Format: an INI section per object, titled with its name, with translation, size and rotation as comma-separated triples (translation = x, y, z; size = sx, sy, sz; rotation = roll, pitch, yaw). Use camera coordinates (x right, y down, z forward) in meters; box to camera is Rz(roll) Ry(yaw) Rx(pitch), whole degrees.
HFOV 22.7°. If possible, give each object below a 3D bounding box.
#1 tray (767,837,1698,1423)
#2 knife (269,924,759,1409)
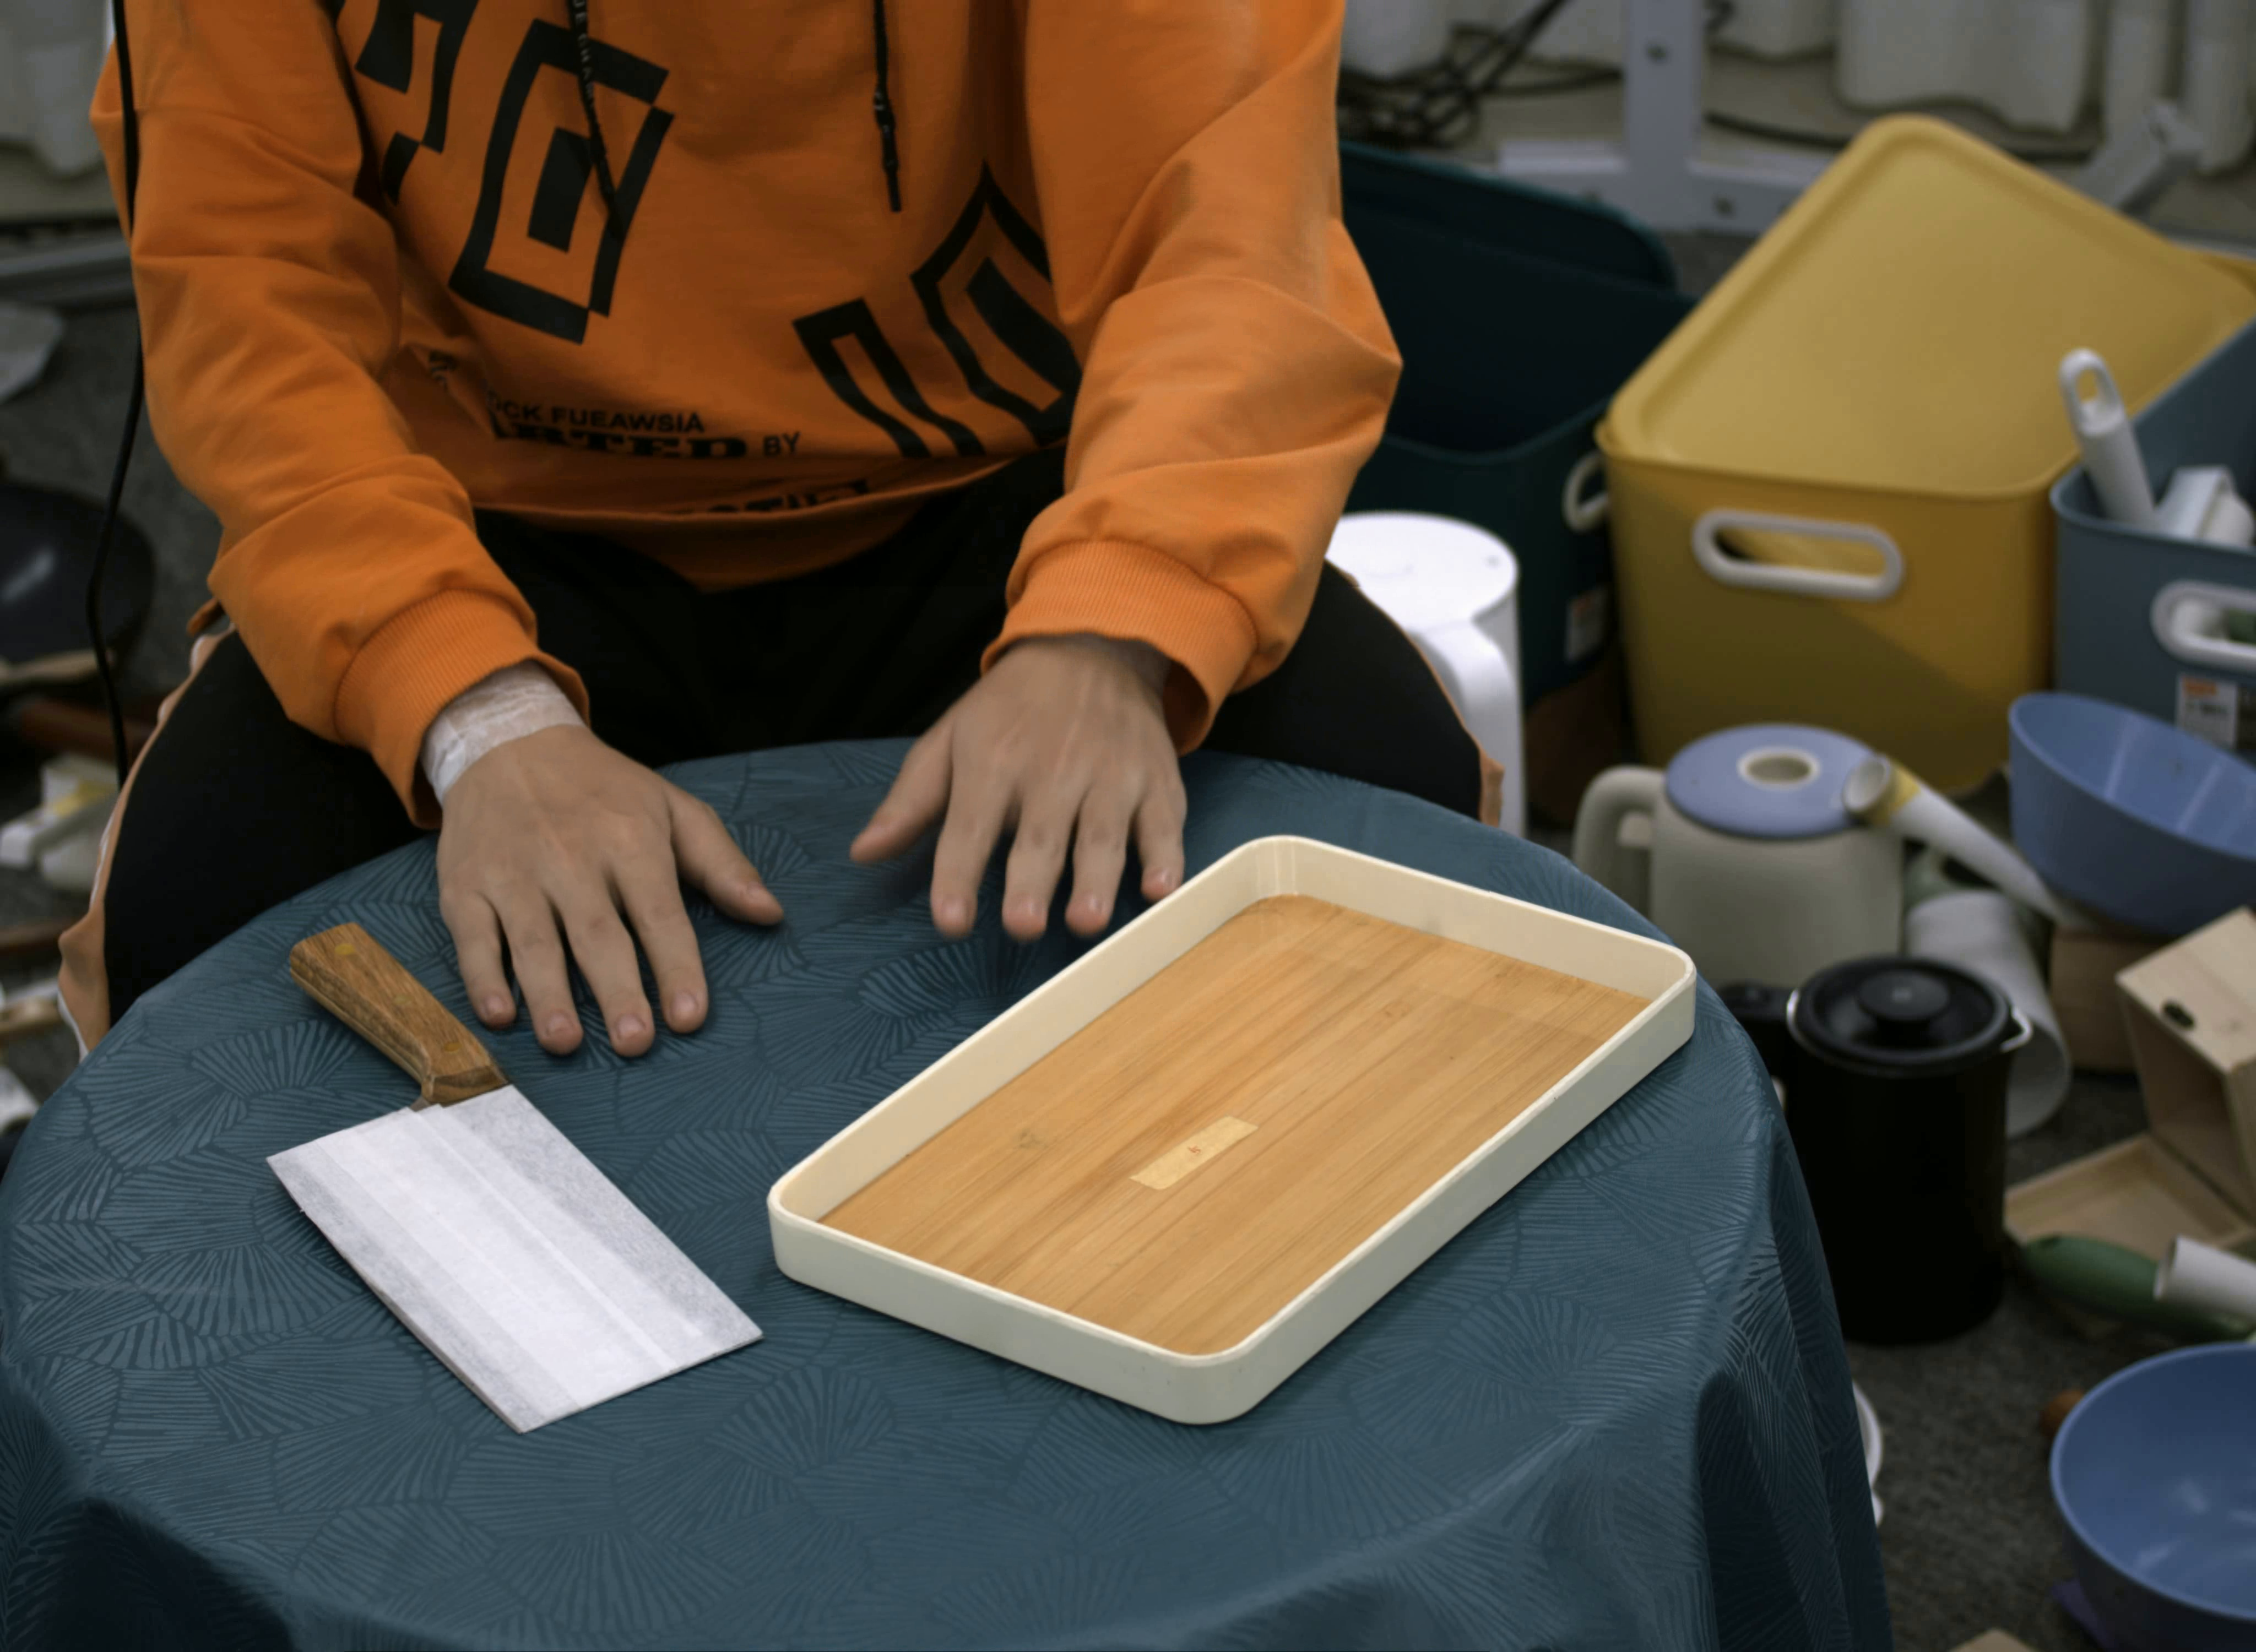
[tray]
translation = 0.039, 0.095, 1.879
size = 0.191, 0.027, 0.305
rotation = 16, 33, 33
[knife]
translation = -0.232, 0.114, 1.883
size = 0.093, 0.021, 0.307
rotation = -19, 34, -26
